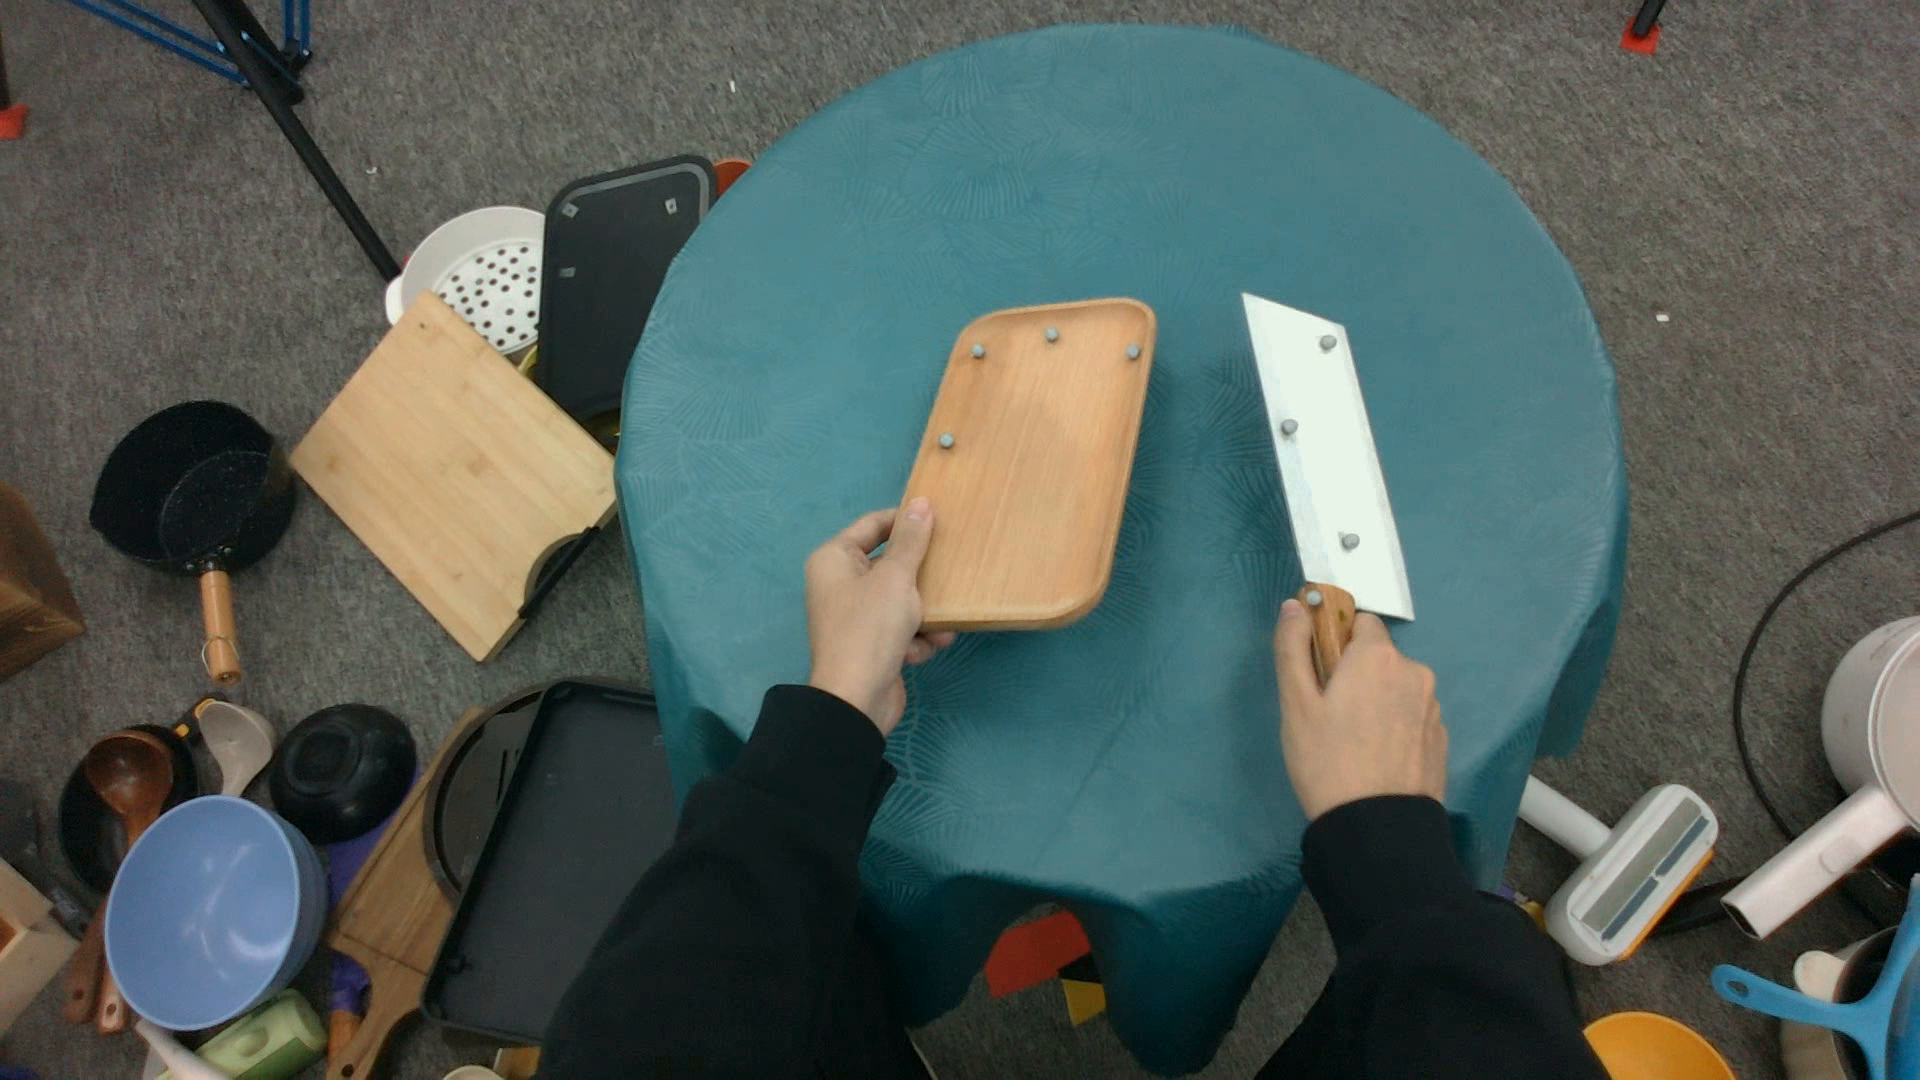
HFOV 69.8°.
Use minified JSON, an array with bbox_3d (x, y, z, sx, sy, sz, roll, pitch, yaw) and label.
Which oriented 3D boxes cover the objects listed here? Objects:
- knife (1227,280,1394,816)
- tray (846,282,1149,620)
[{"bbox_3d":[0.200,-0.003,0.748,0.093,0.021,0.306,12,62,-41],"label":"knife"},{"bbox_3d":[0.026,-0.055,0.759,0.130,0.023,0.252,-4,47,27],"label":"tray"}]
